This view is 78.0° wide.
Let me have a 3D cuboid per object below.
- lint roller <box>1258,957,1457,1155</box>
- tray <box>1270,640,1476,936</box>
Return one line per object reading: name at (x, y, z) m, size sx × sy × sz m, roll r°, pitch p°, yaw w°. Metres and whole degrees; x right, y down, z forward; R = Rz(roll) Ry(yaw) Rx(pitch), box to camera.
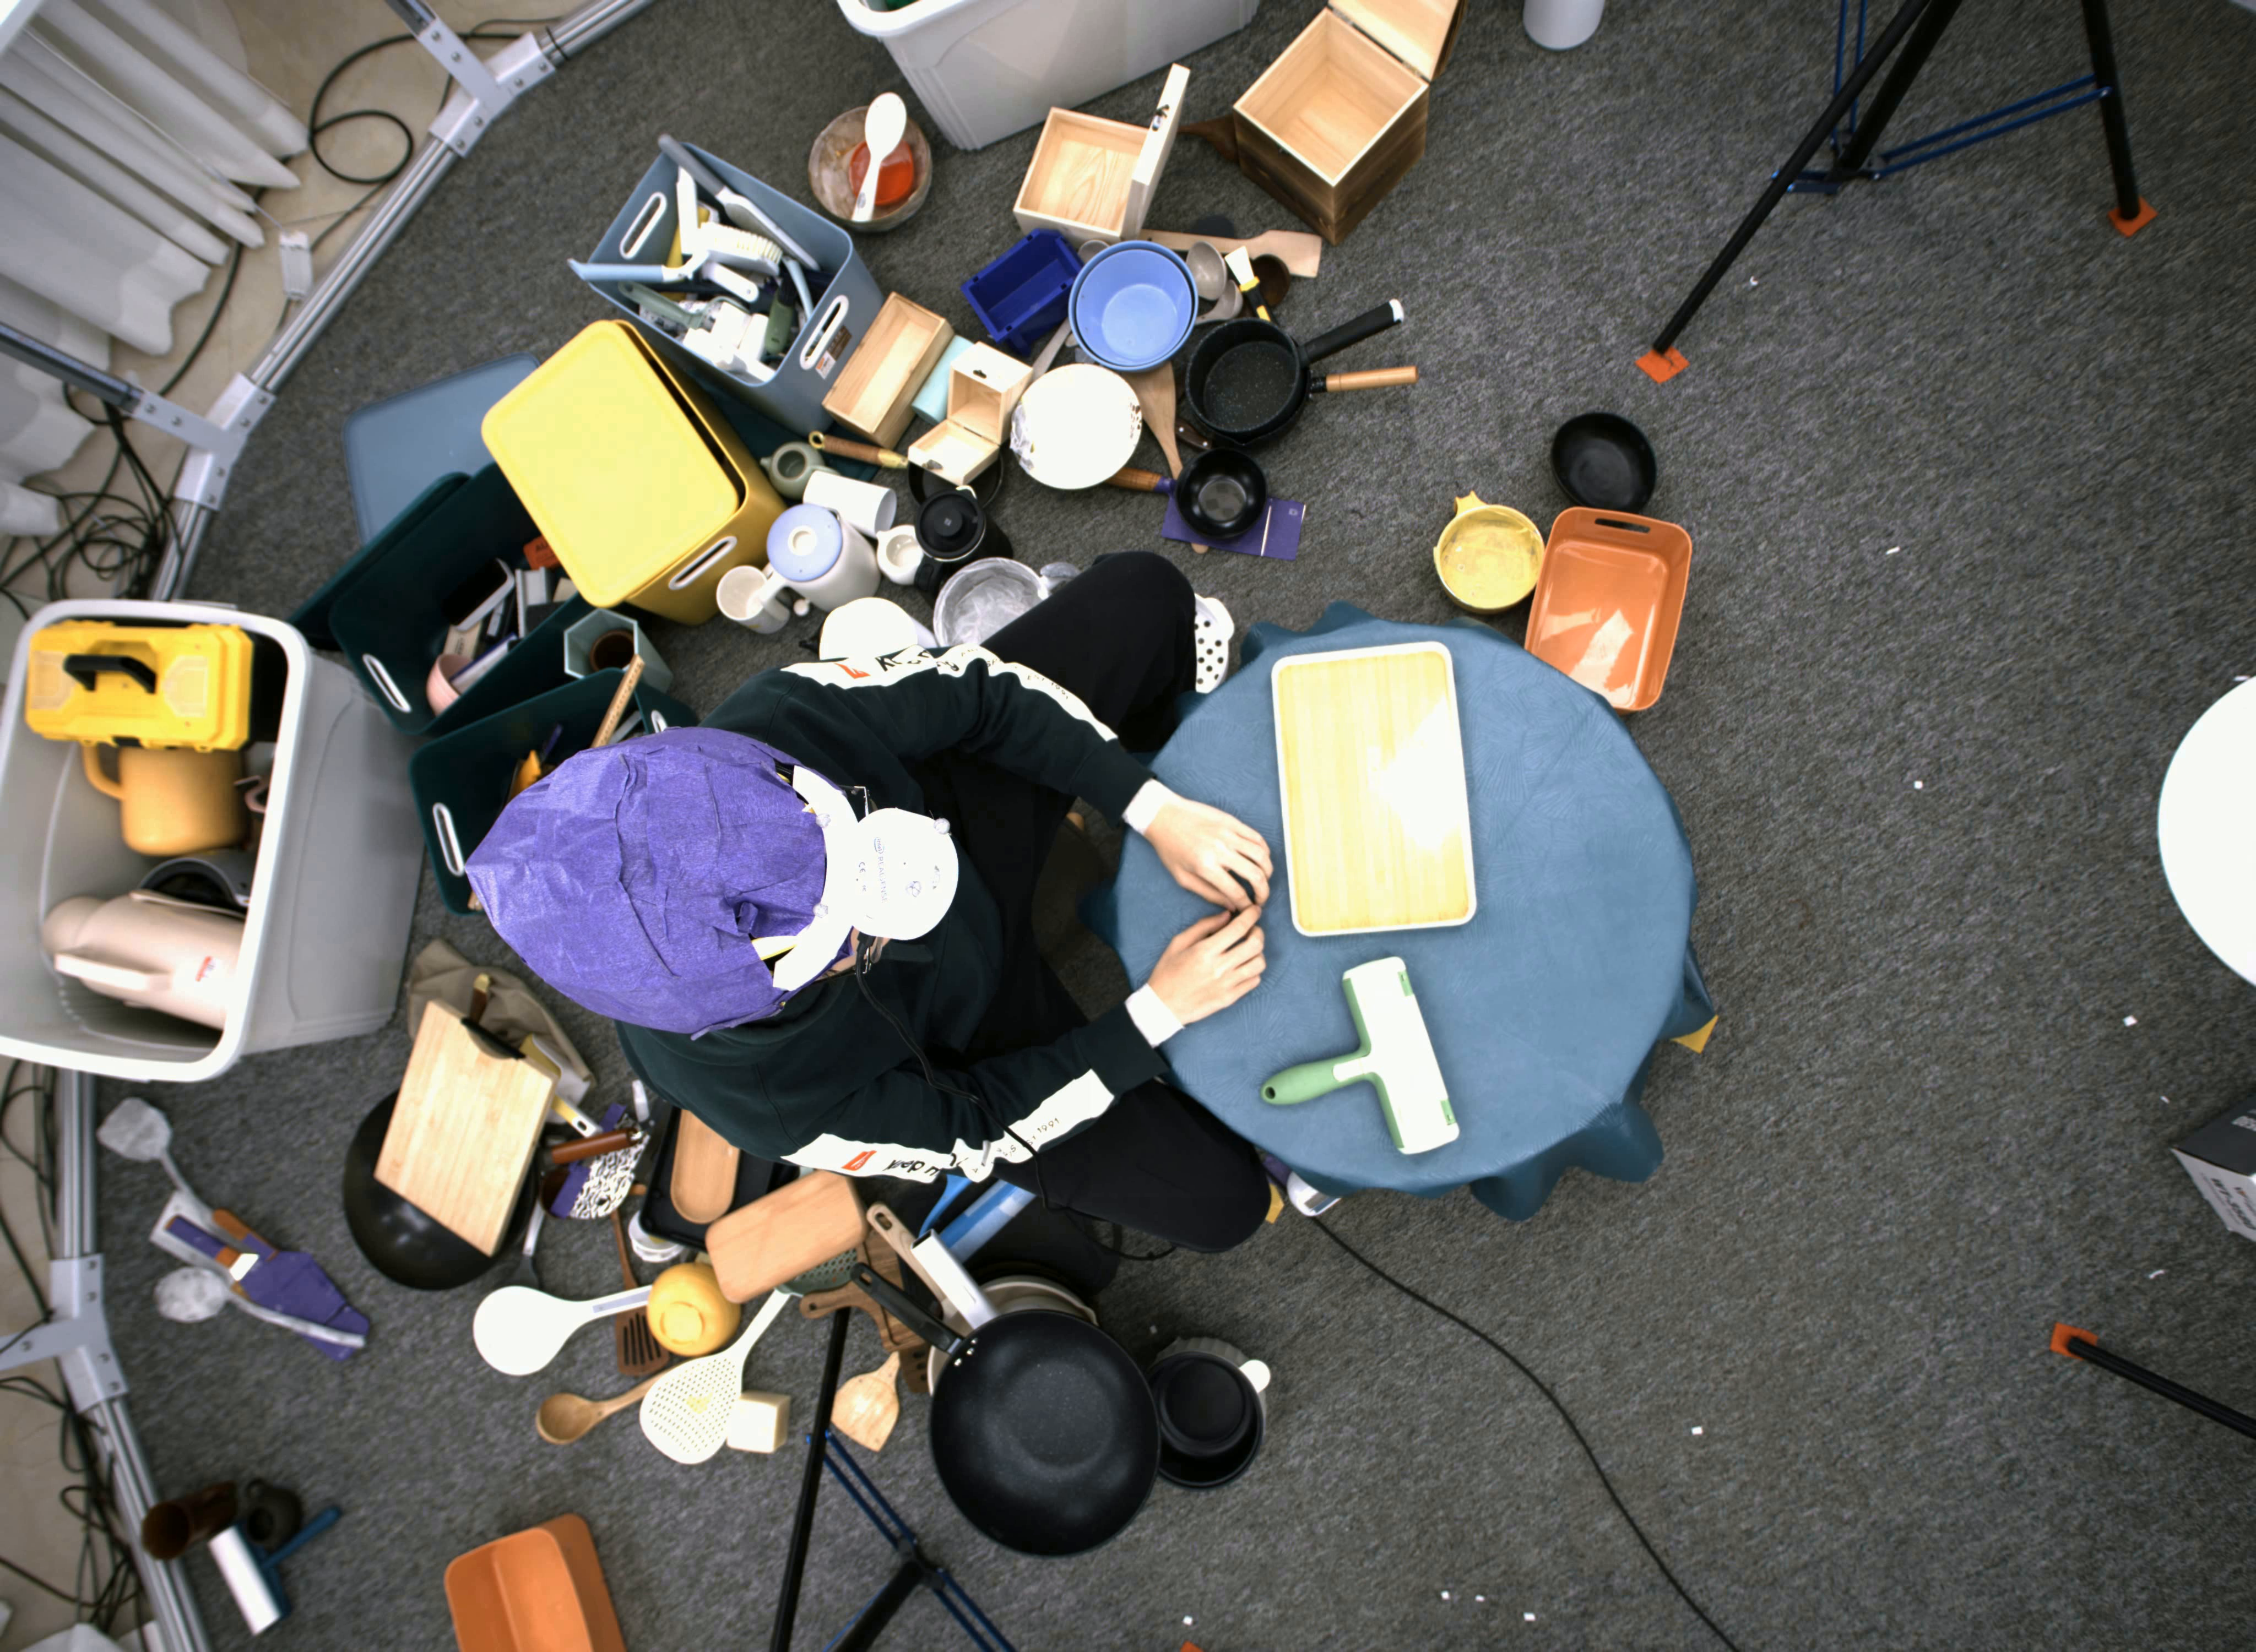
lint roller at (0.221, 0.250, 1.417) m, size 0.184 × 0.082 × 0.197 m, roll -17°, pitch 84°, yaw 5°
tray at (0.256, -0.041, 1.450) m, size 0.192 × 0.027 × 0.299 m, roll -5°, pitch 86°, yaw 11°
